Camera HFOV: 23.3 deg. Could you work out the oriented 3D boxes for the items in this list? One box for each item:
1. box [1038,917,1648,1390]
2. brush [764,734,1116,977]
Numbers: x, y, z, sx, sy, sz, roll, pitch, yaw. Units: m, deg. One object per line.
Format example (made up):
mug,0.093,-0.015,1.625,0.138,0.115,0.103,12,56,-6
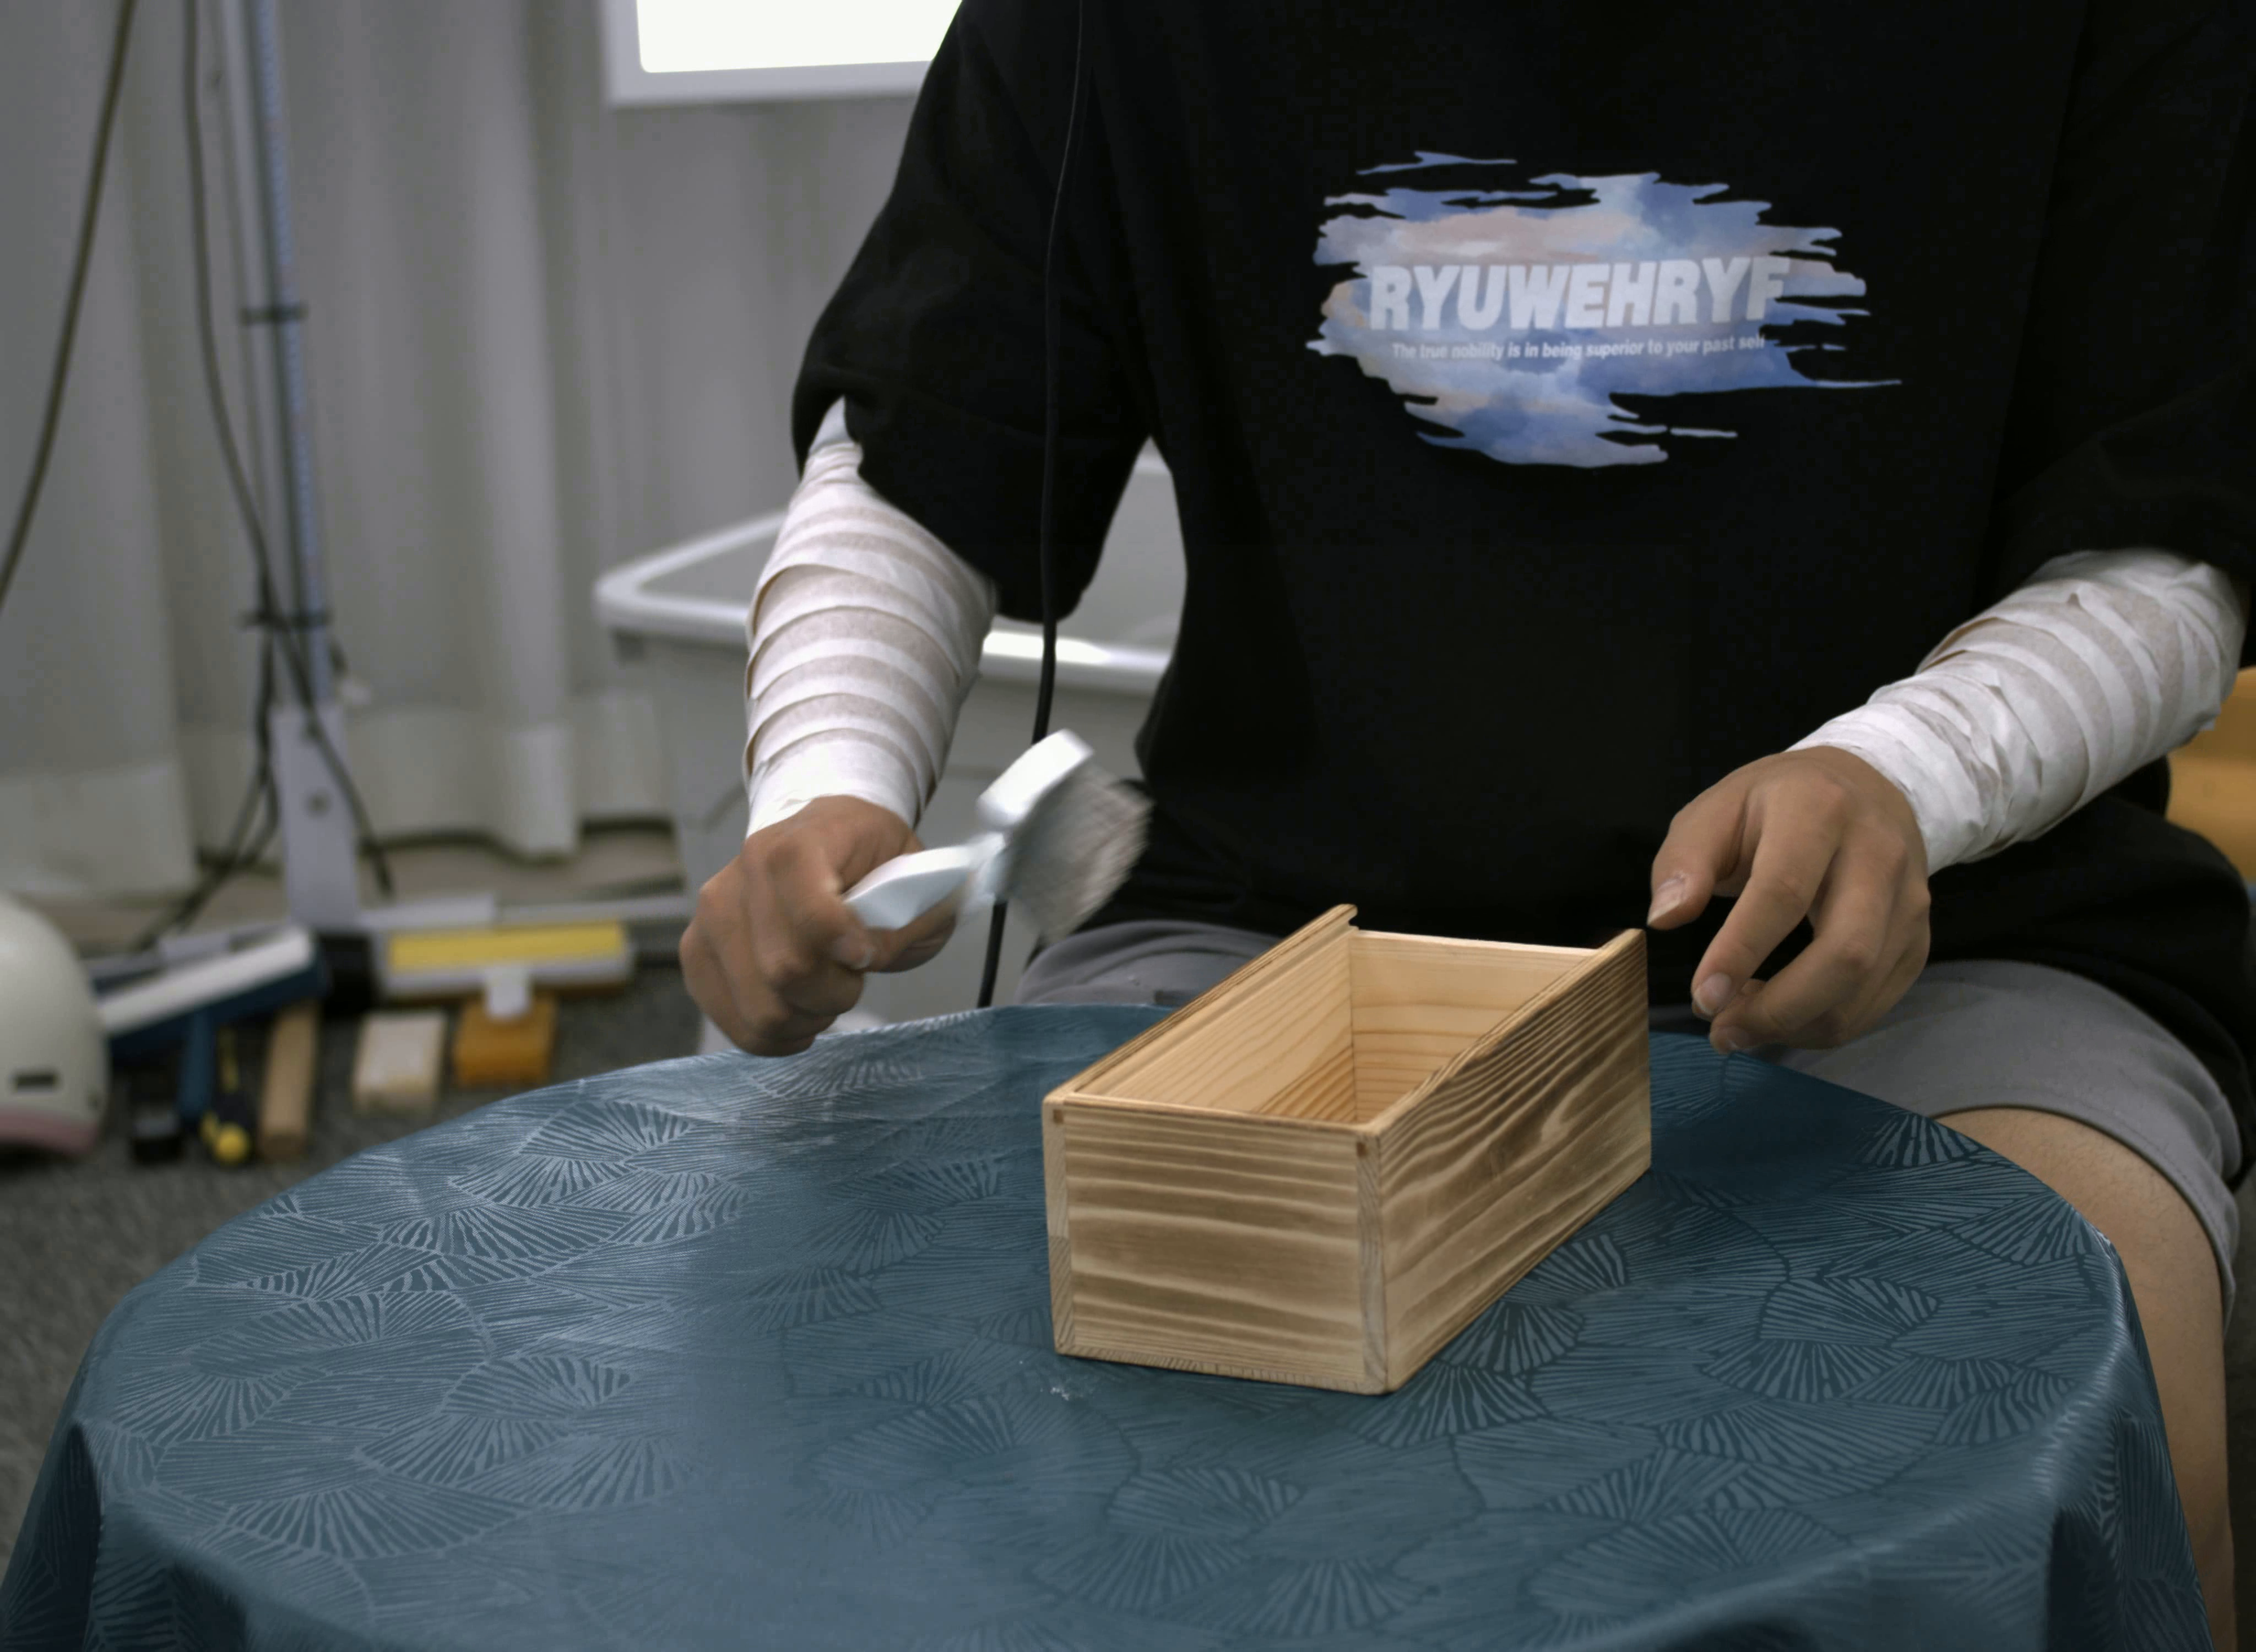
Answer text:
box,0.068,0.093,1.629,0.107,0.080,0.212,3,15,25
brush,-0.058,0.026,1.683,0.034,0.050,0.242,-43,2,-25
